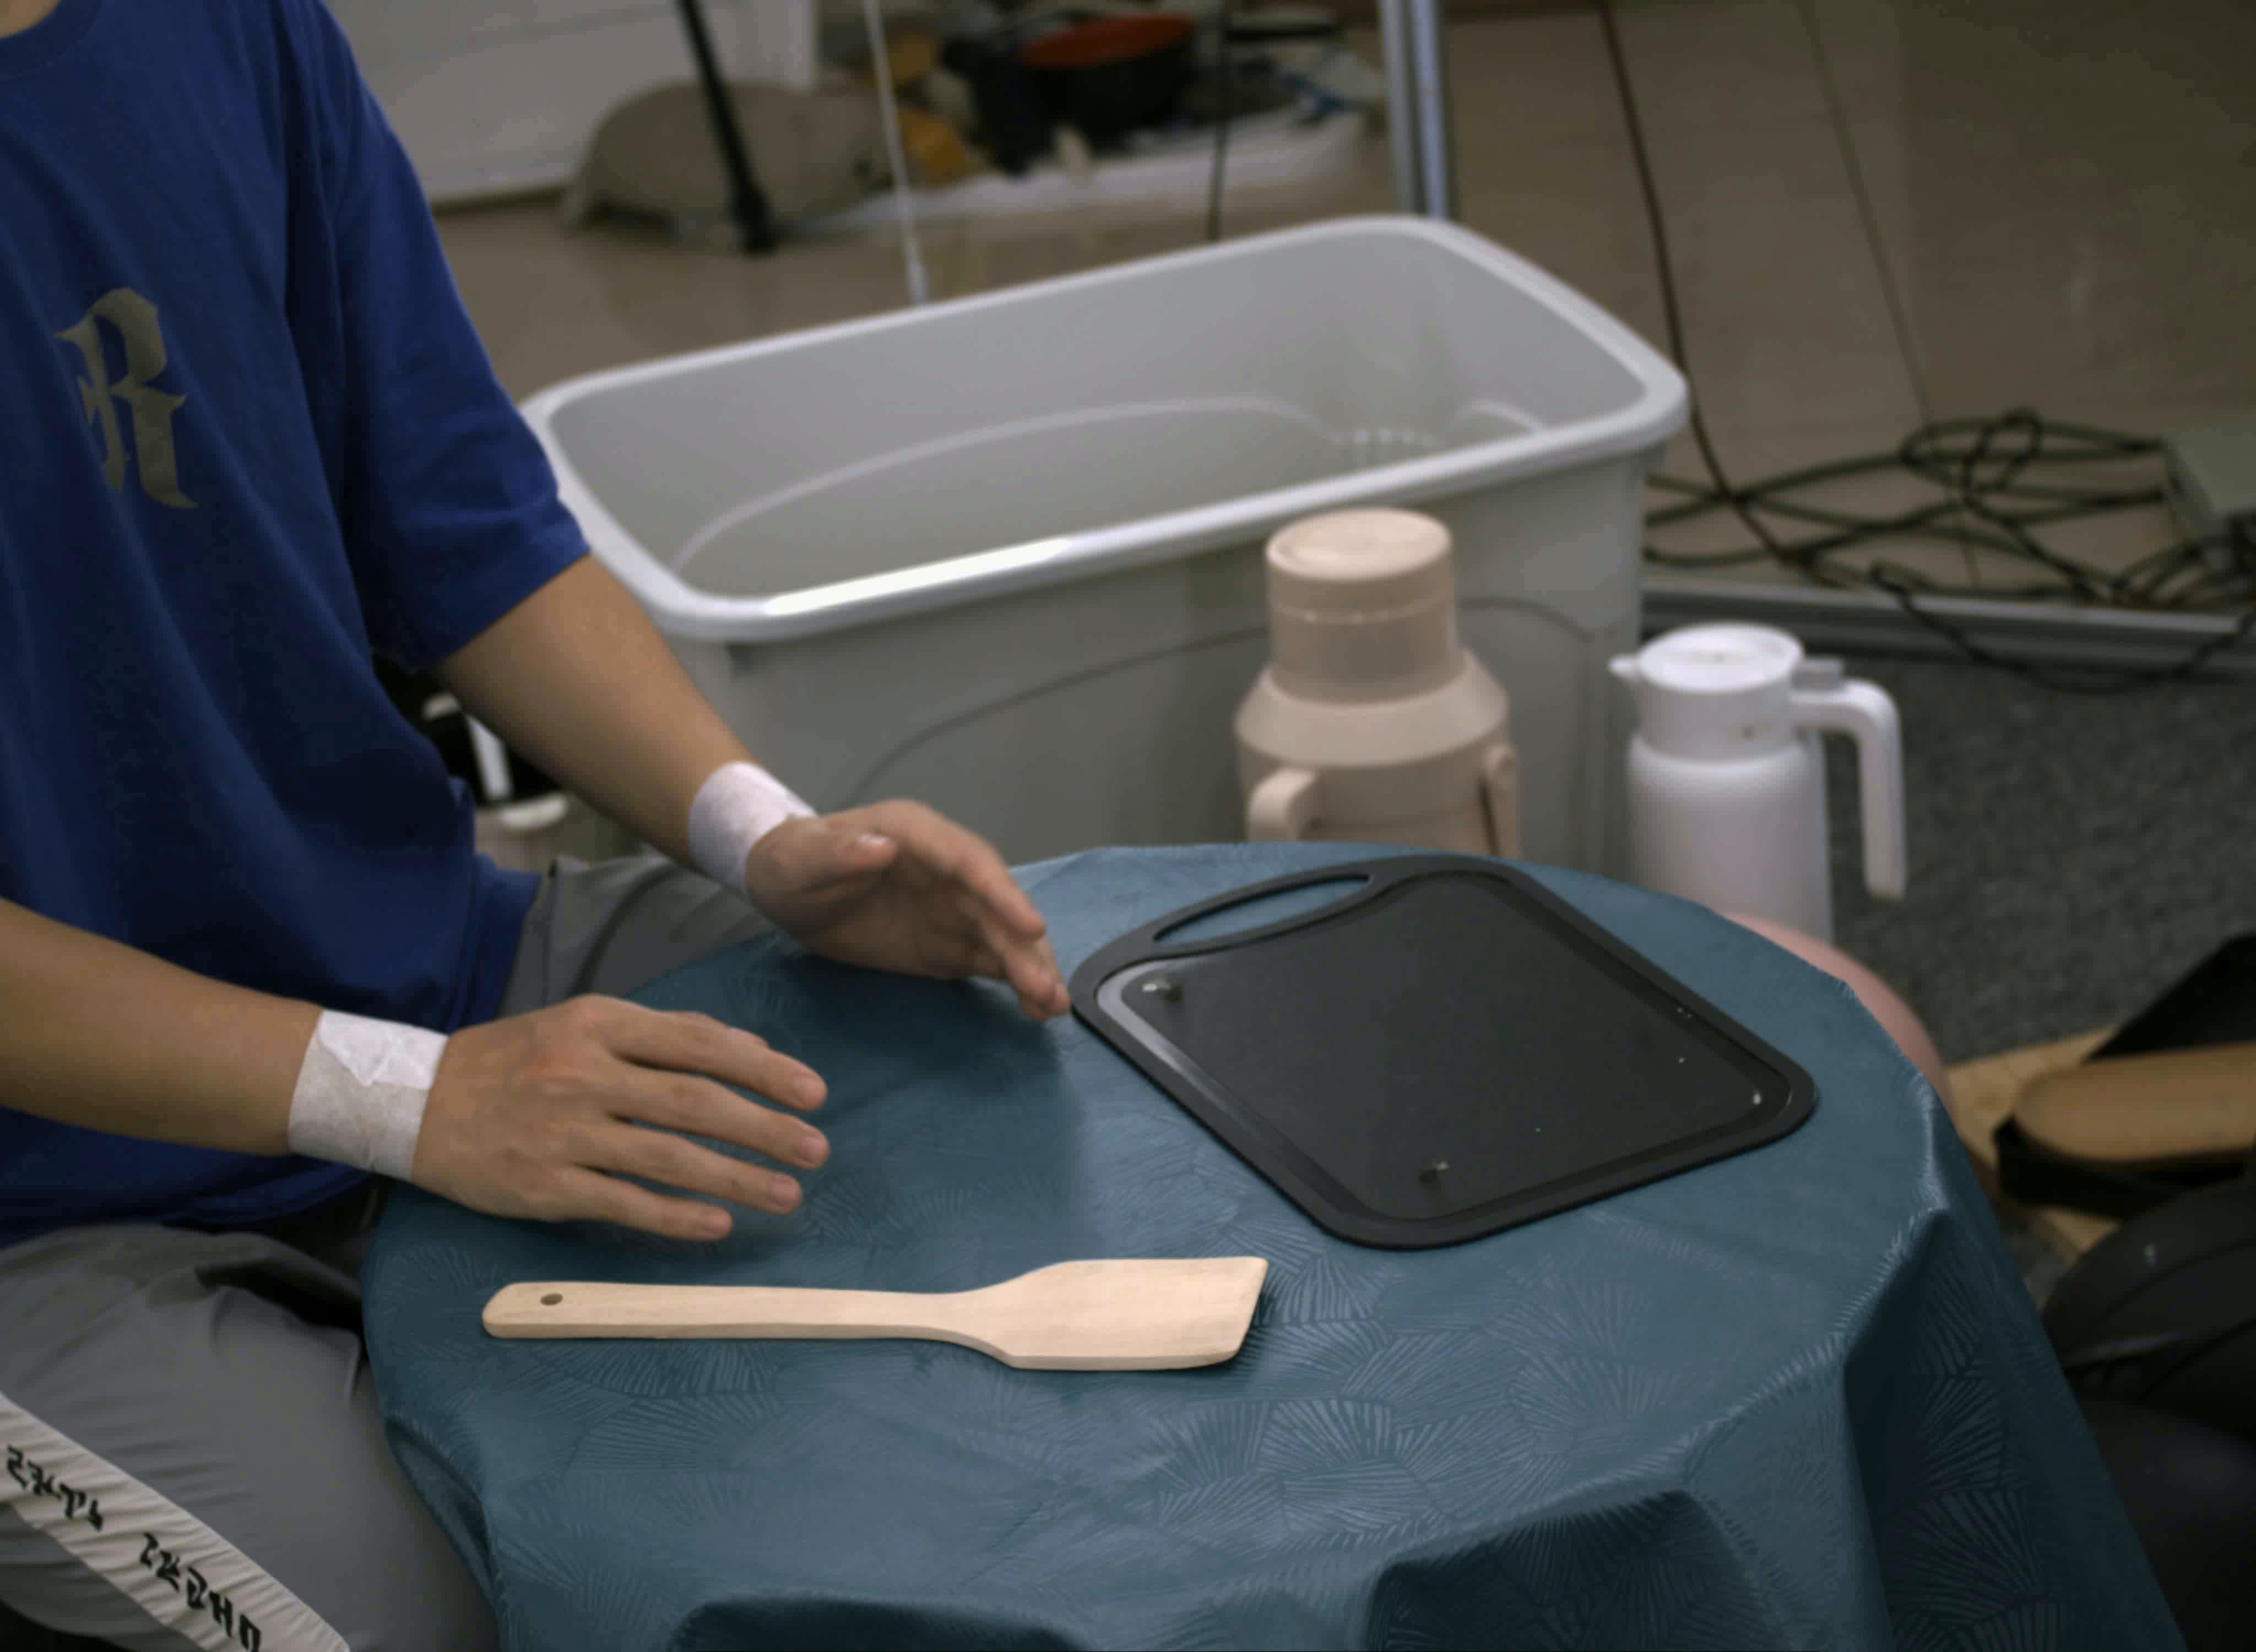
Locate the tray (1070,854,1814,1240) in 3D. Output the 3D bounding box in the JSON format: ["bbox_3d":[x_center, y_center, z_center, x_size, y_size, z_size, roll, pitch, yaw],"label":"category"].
[{"bbox_3d":[0.114,0.079,2.239,0.210,0.010,0.321,-16,26,-20],"label":"tray"}]

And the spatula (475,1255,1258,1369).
[{"bbox_3d":[-0.100,0.177,2.078,0.292,0.011,0.071,-1,27,12],"label":"spatula"}]
